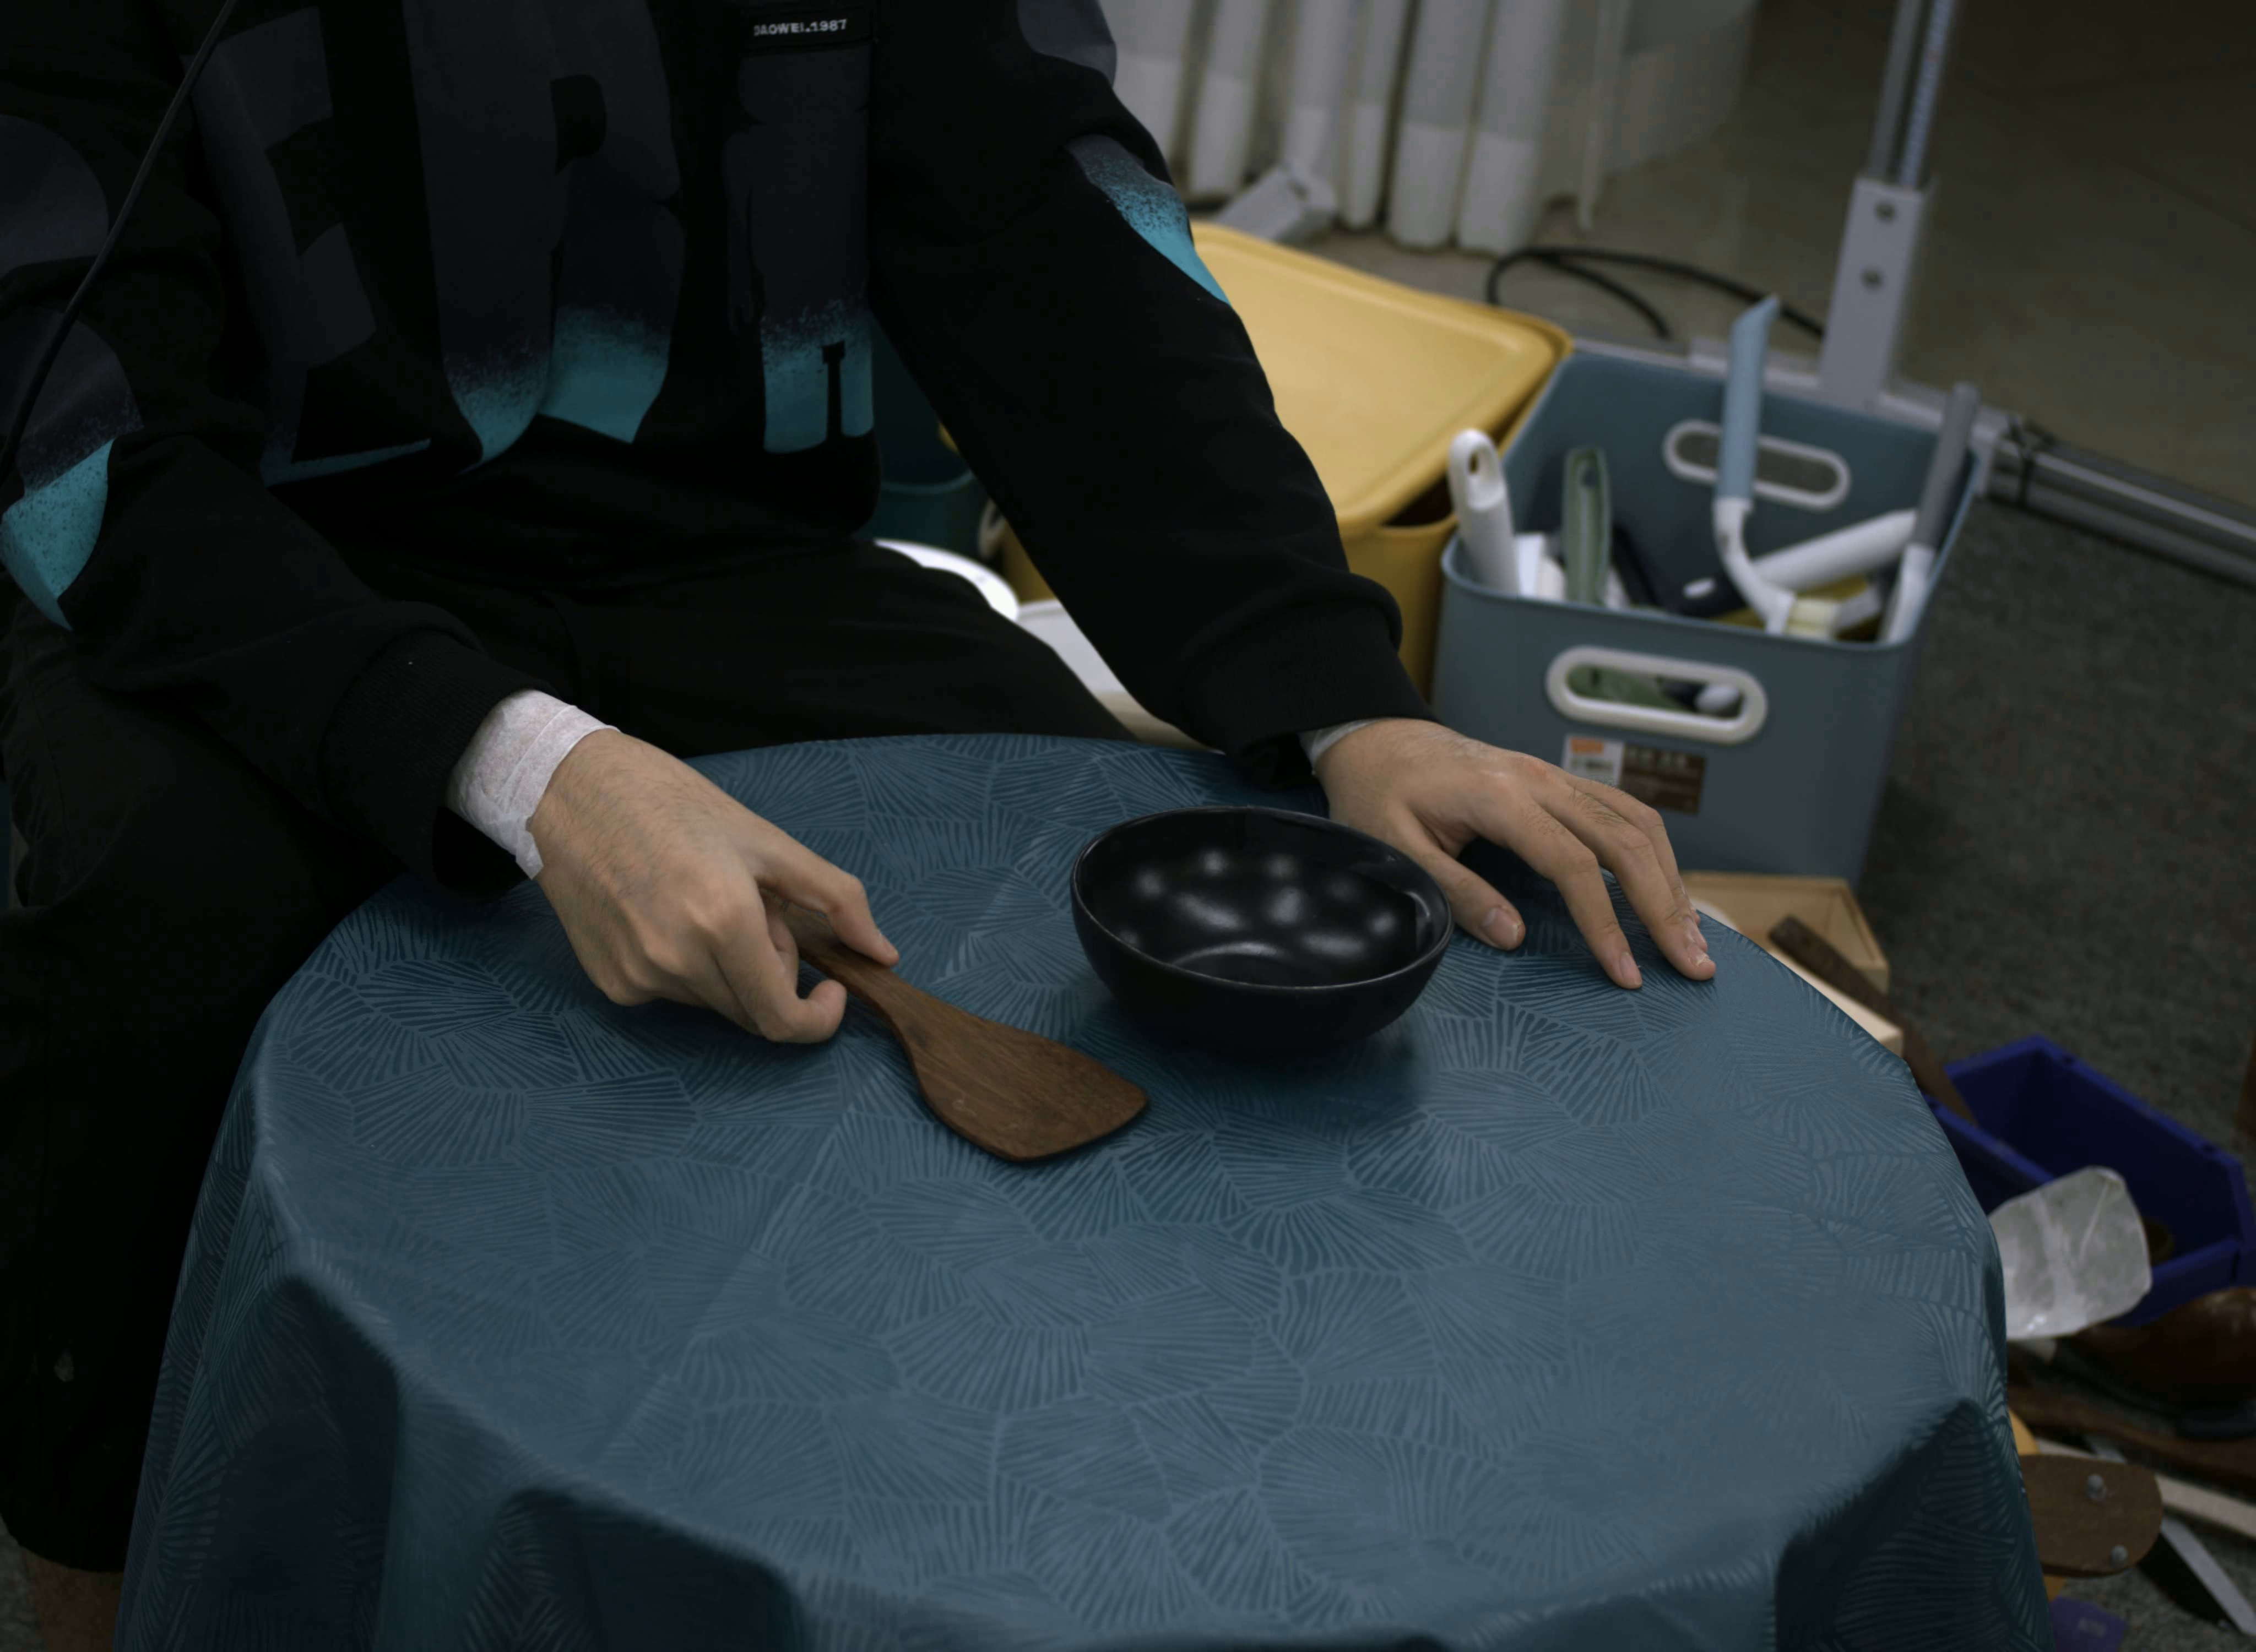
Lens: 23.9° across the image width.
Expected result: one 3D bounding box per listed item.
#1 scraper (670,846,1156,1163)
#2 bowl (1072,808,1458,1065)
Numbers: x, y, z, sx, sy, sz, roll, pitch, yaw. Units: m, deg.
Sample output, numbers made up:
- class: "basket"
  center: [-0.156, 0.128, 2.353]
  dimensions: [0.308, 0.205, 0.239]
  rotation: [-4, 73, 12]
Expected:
- class: "scraper"
  center: [-0.084, 0.060, 1.880]
  dimensions: [0.213, 0.011, 0.075]
  rotation: [33, 35, 31]
- class: "bowl"
  center: [0.048, 0.047, 1.911]
  dimensions: [0.139, 0.049, 0.141]
  rotation: [3, 28, -2]
